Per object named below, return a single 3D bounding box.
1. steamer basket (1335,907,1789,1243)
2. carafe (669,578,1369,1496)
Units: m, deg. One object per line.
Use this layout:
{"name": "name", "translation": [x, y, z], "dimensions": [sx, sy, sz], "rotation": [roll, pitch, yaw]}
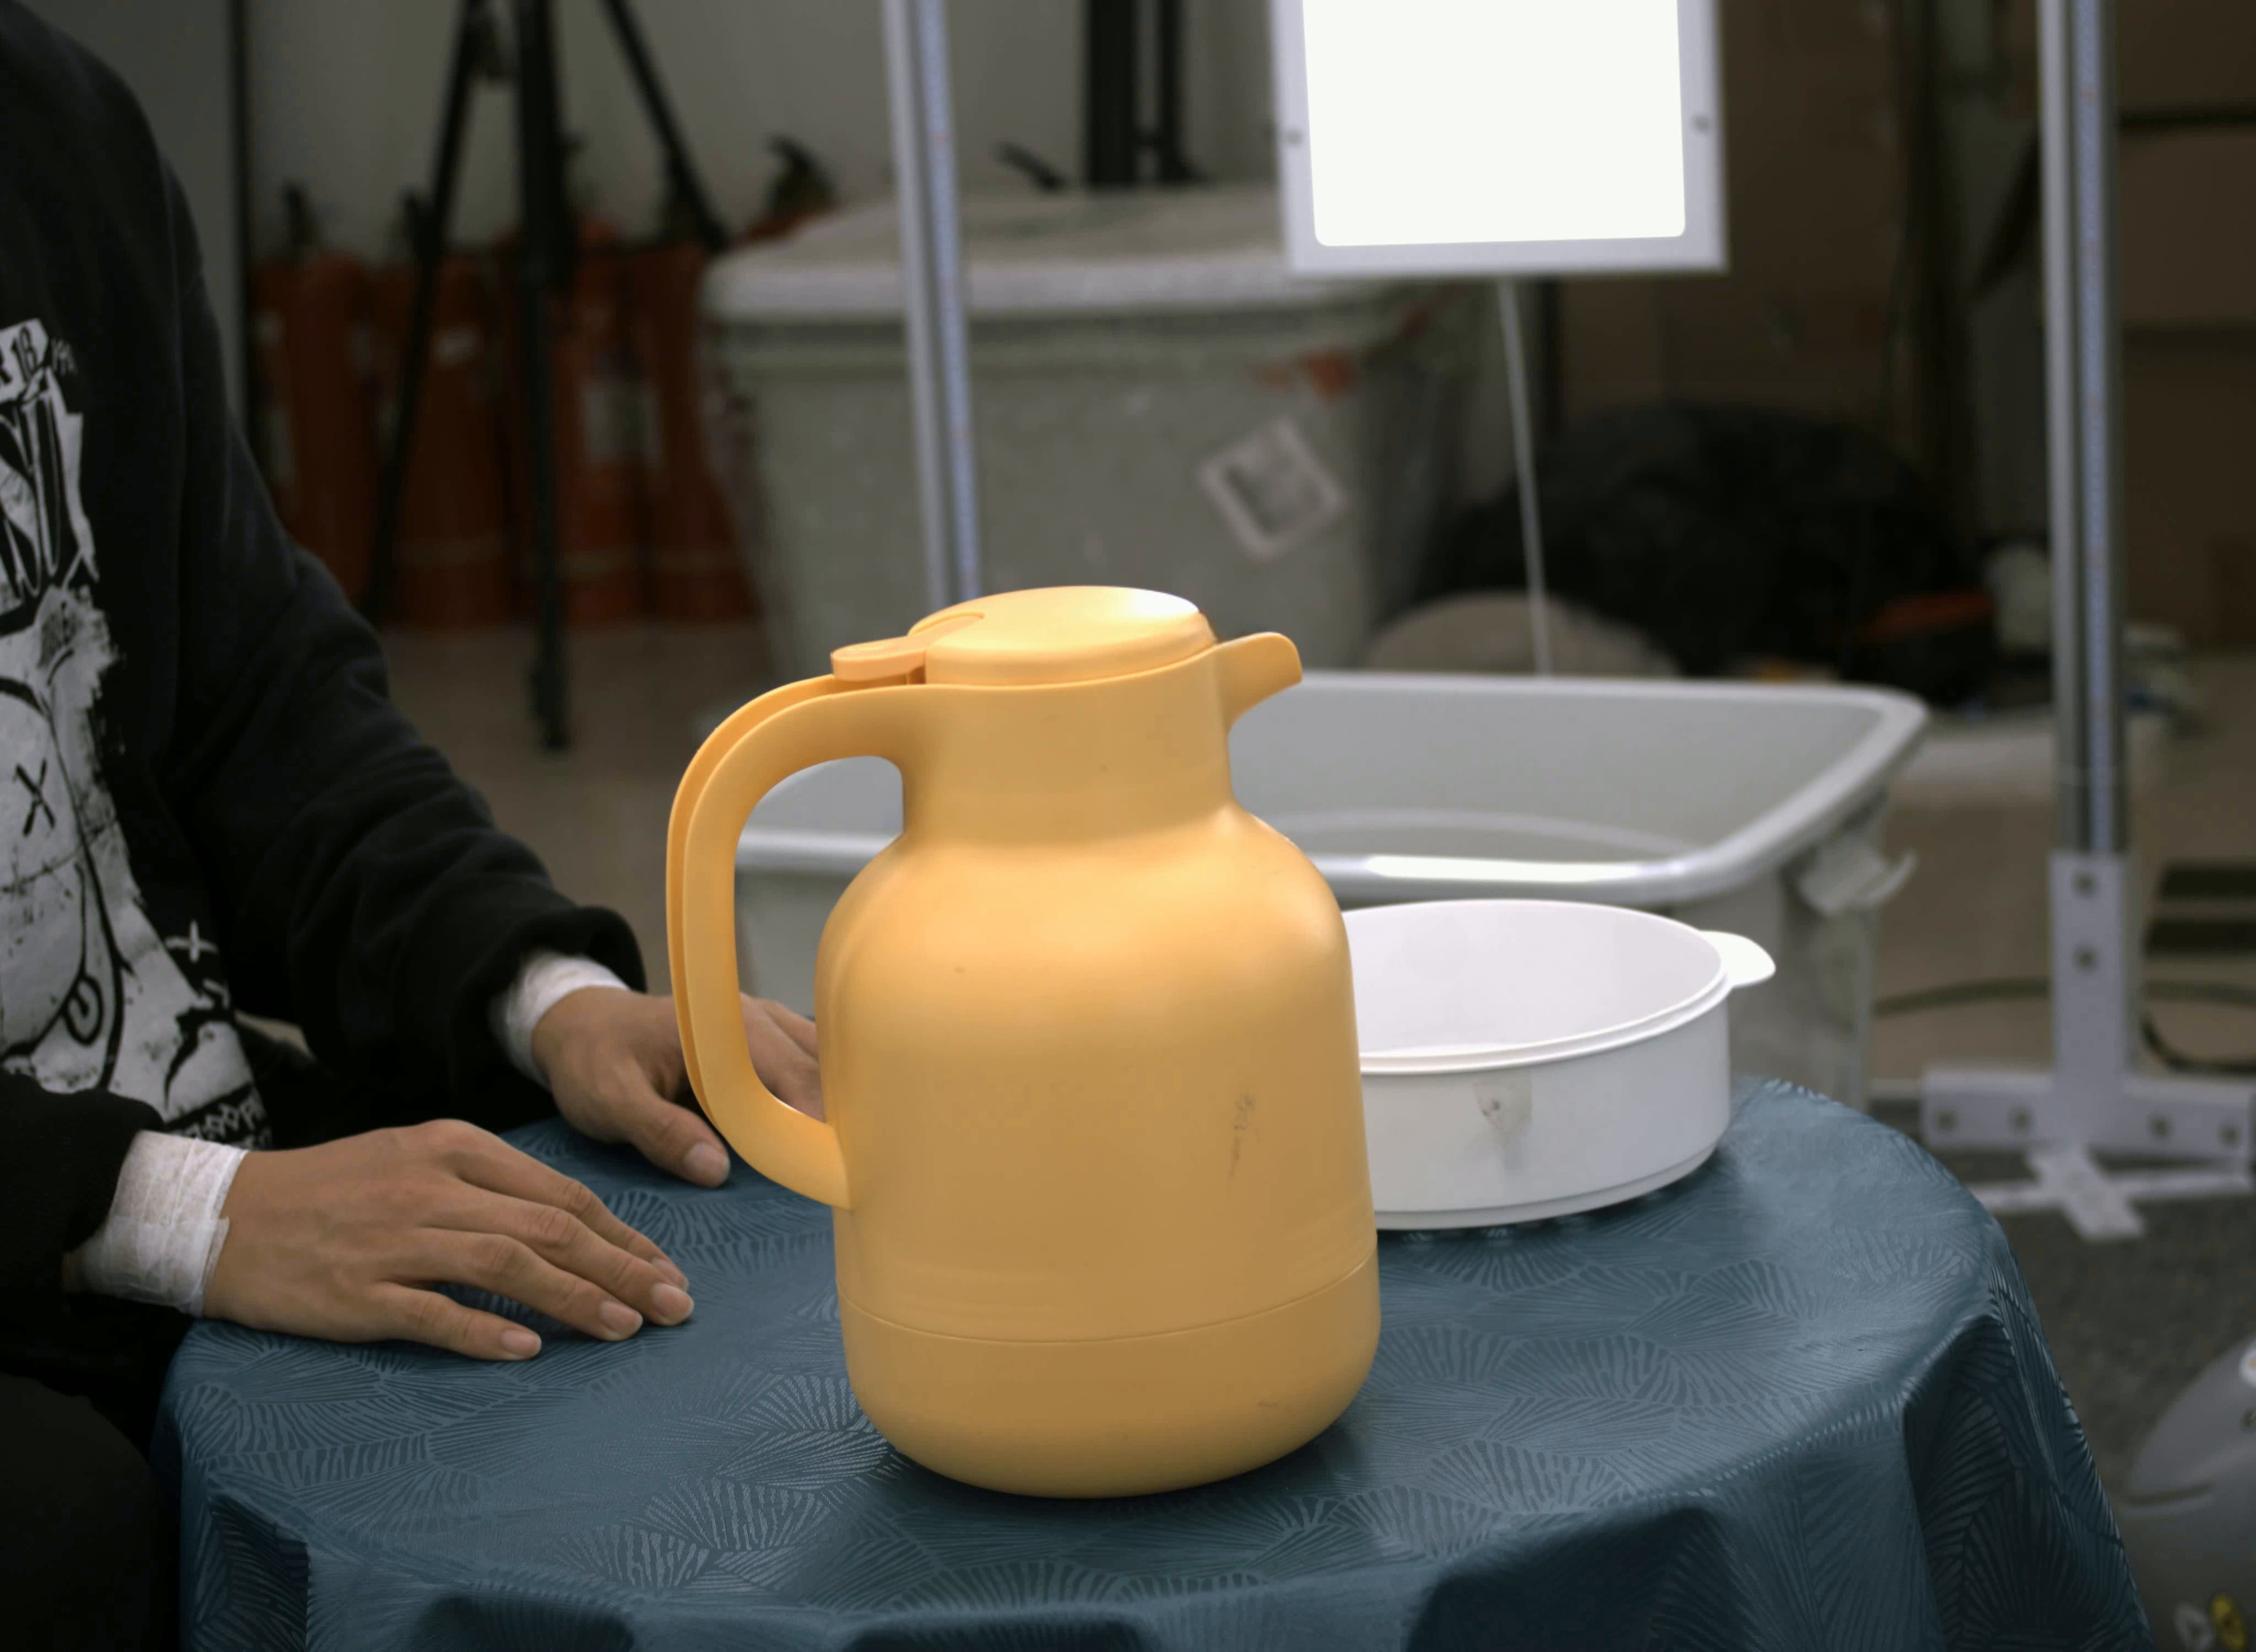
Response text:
{"name": "steamer basket", "translation": [0.116, 0.086, 1.896], "dimensions": [0.229, 0.069, 0.202], "rotation": [-6, 14, -4]}
{"name": "carafe", "translation": [-0.033, 0.060, 1.630], "dimensions": [0.200, 0.261, 0.165], "rotation": [-6, 11, -11]}
